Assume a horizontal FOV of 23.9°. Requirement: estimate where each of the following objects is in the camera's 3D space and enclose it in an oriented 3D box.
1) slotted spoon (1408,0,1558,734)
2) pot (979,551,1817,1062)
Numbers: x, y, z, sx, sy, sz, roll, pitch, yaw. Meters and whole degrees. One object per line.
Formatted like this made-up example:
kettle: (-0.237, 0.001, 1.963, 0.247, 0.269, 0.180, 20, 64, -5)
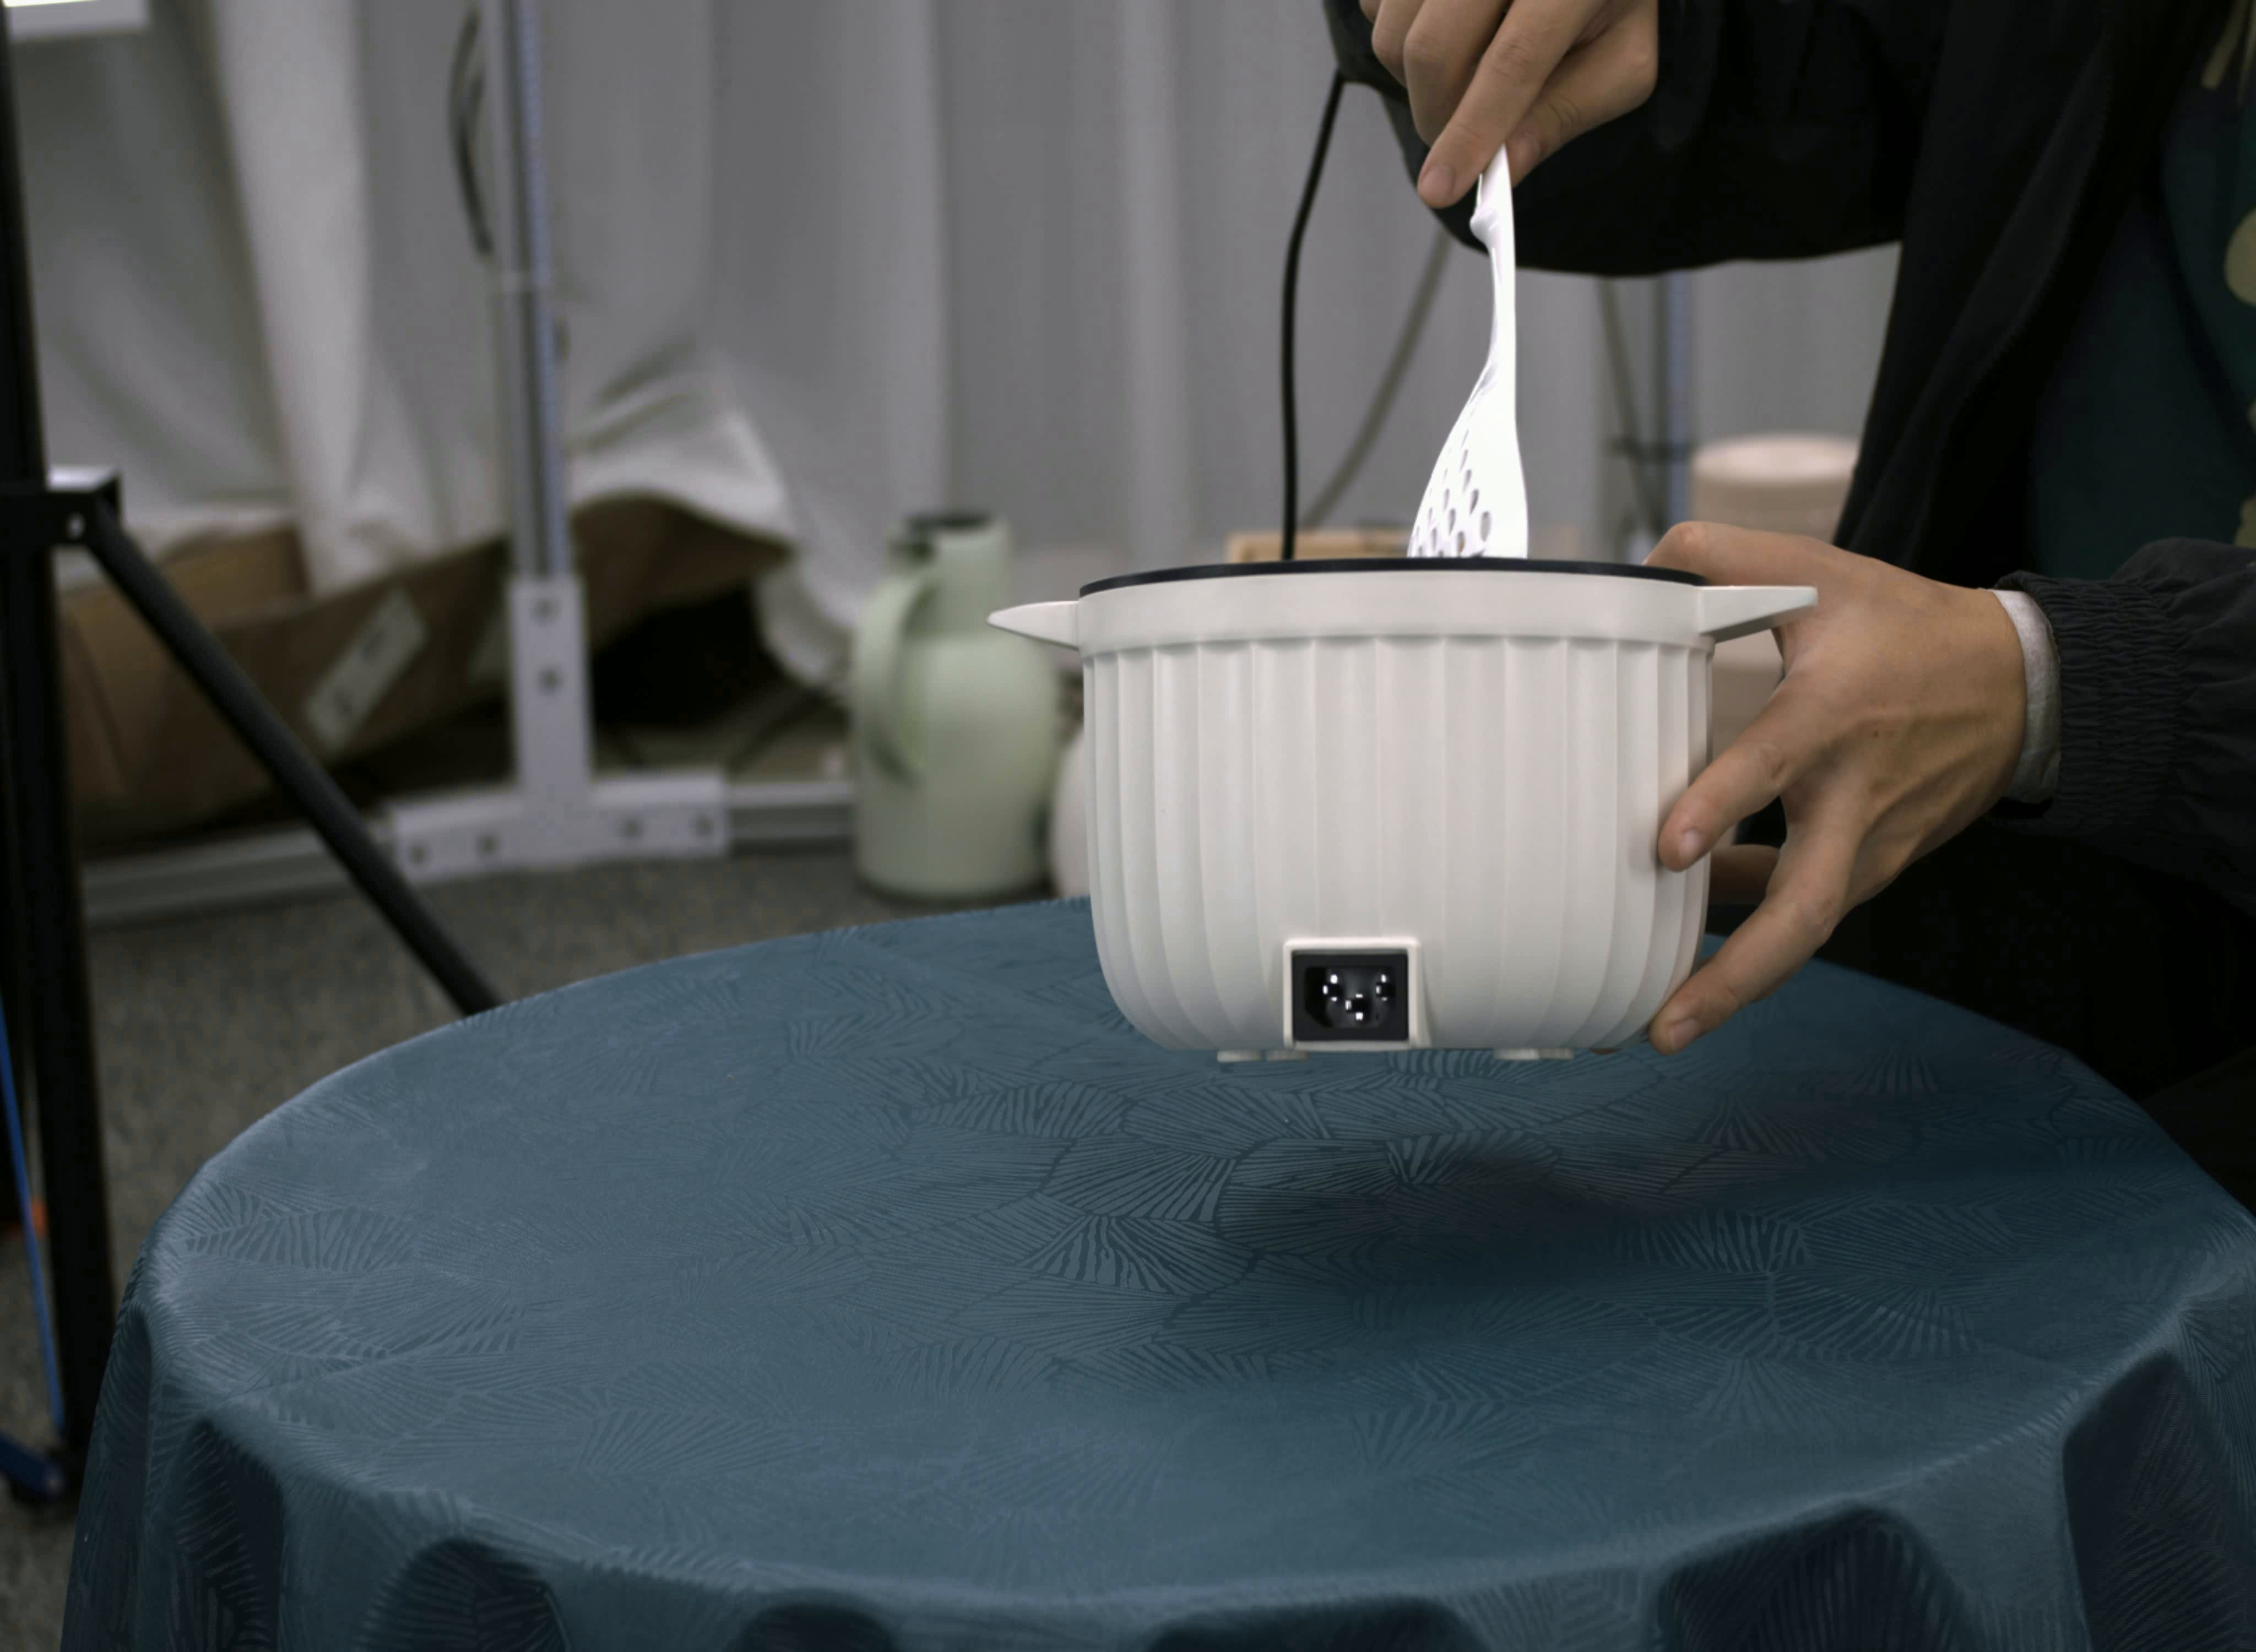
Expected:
slotted spoon: (0.105, -0.140, 1.573, 0.050, 0.135, 0.351, 0, 55, 5)
pot: (0.076, -0.003, 1.515, 0.242, 0.143, 0.188, 0, 0, 13)
